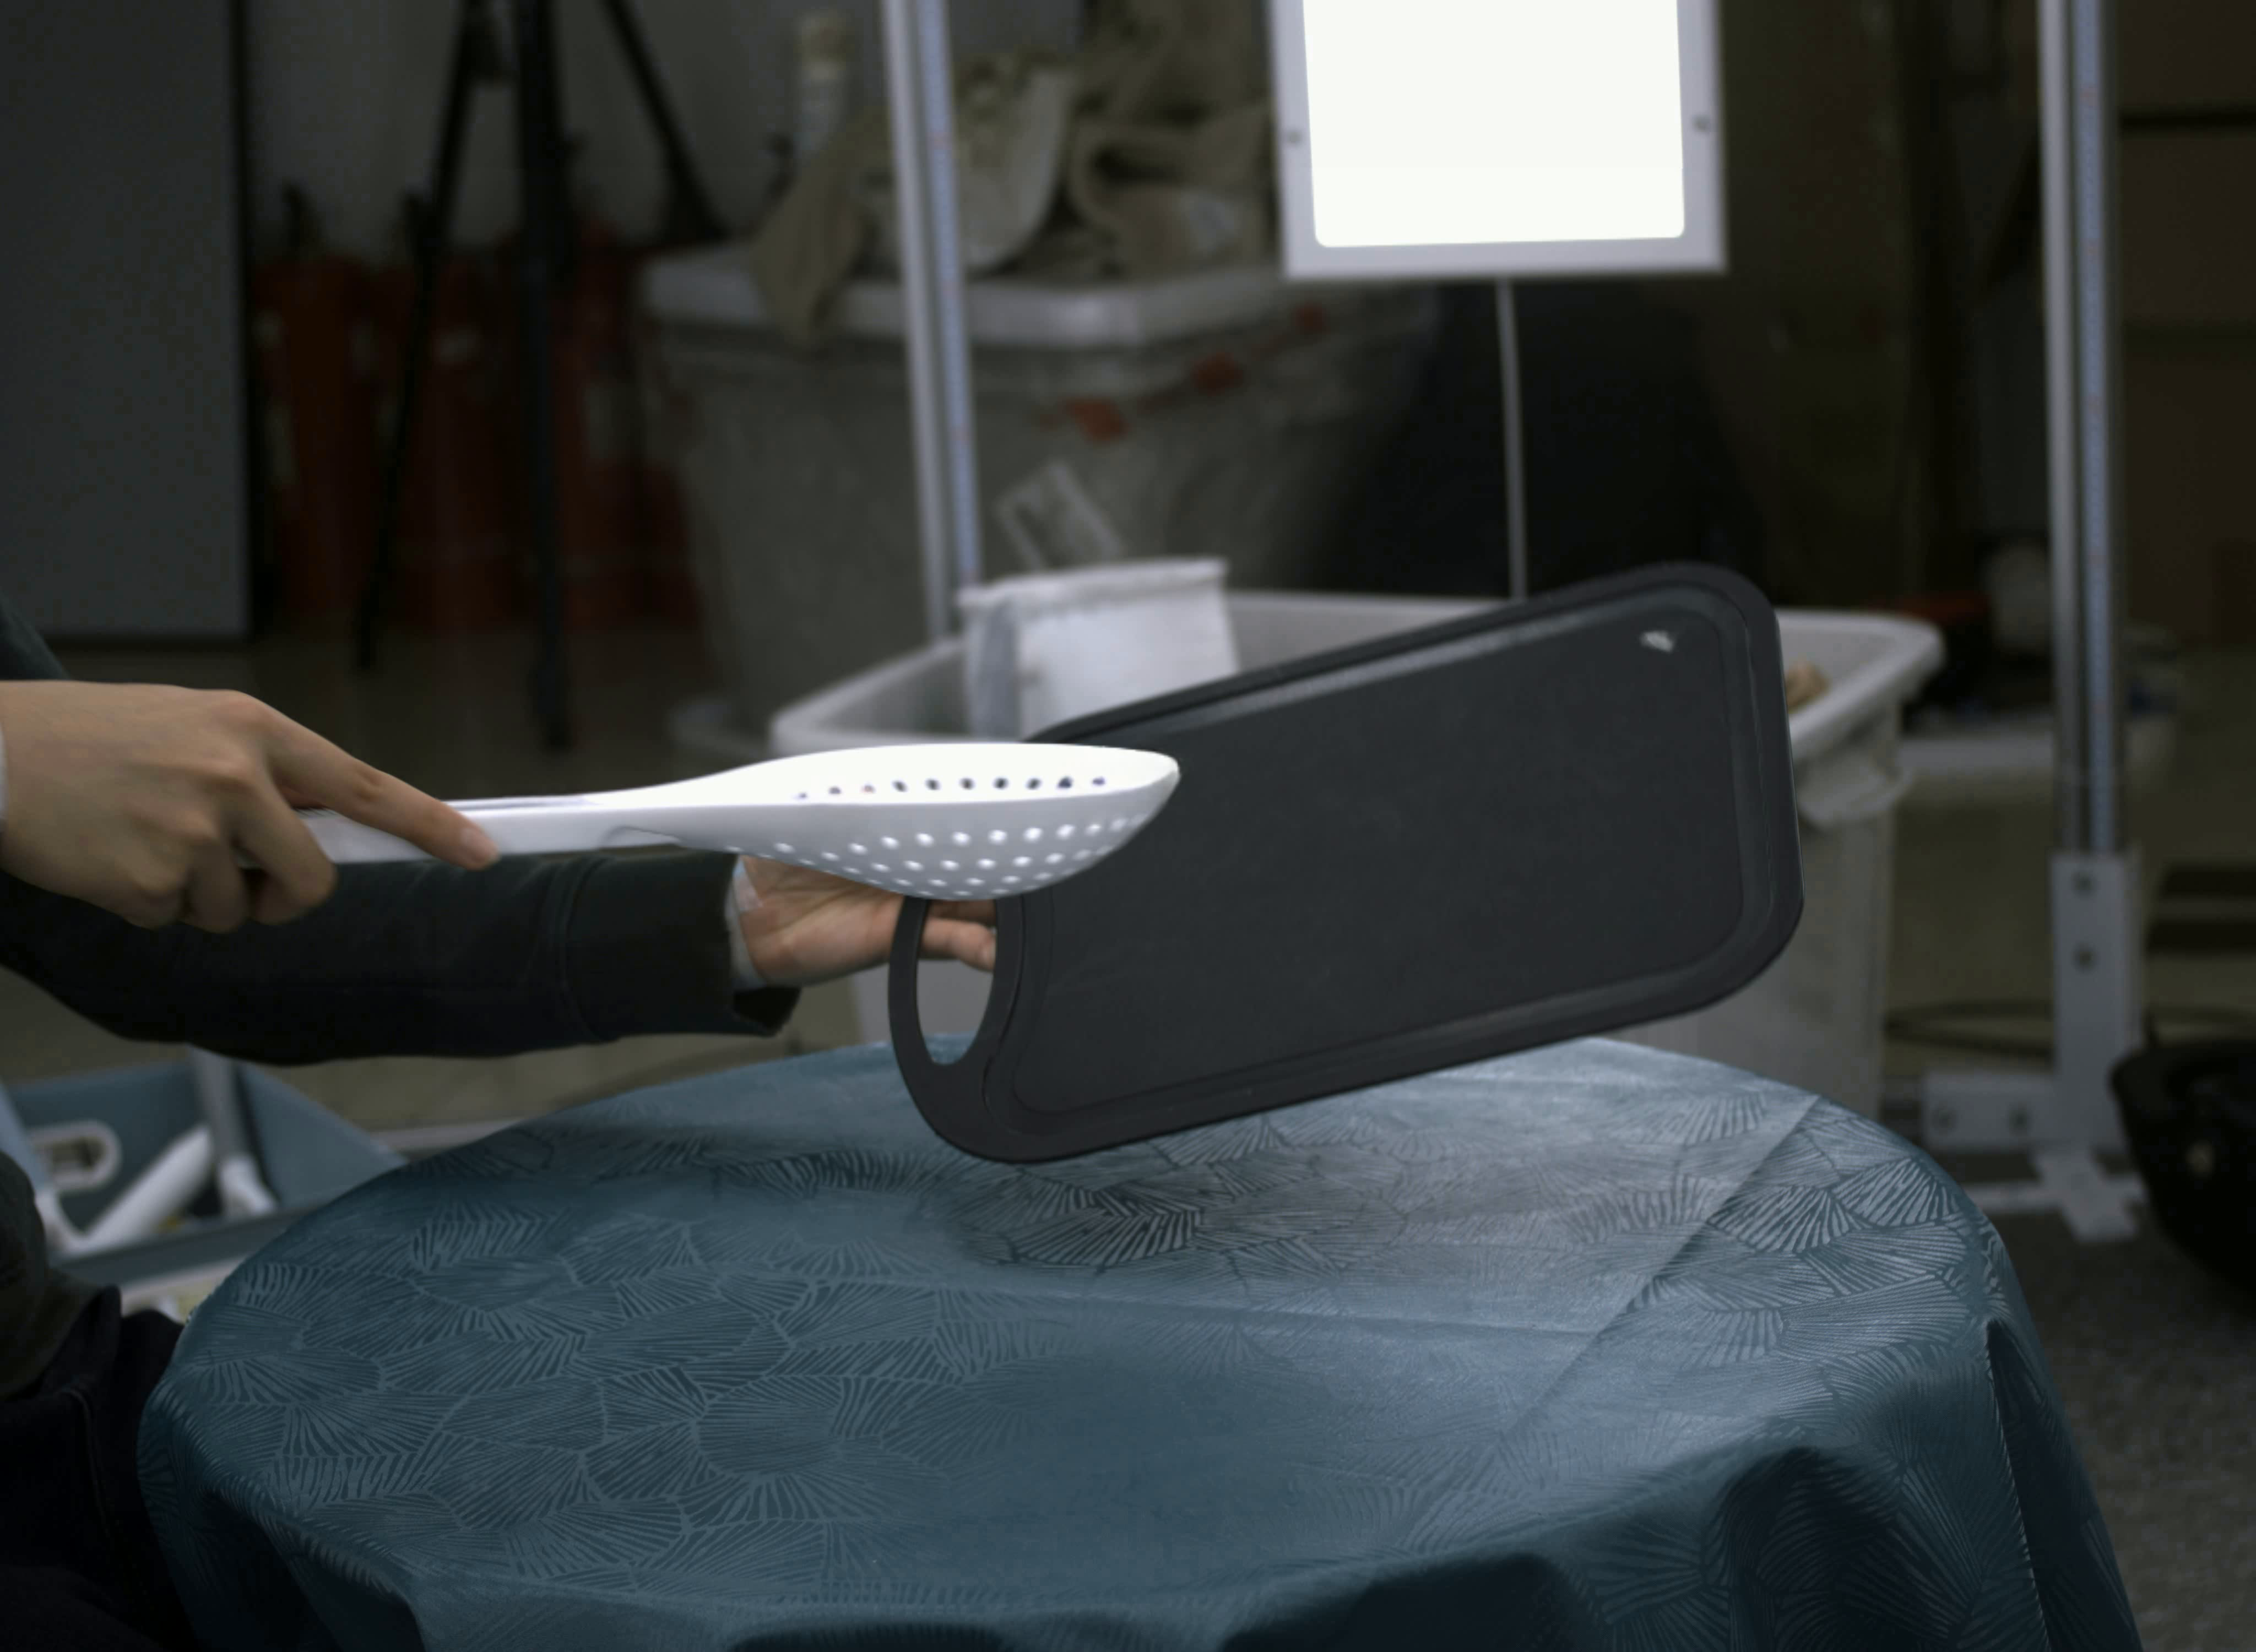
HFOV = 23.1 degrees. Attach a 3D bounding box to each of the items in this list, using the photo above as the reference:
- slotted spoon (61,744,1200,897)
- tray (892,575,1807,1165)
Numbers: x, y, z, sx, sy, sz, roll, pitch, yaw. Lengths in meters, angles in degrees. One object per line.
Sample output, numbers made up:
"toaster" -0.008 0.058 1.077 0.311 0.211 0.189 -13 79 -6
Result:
"slotted spoon" -0.145 -0.004 1.661 0.343 0.046 0.138 1 5 -19
"tray" 0.070 0.015 1.863 0.329 0.010 0.210 -14 43 17
